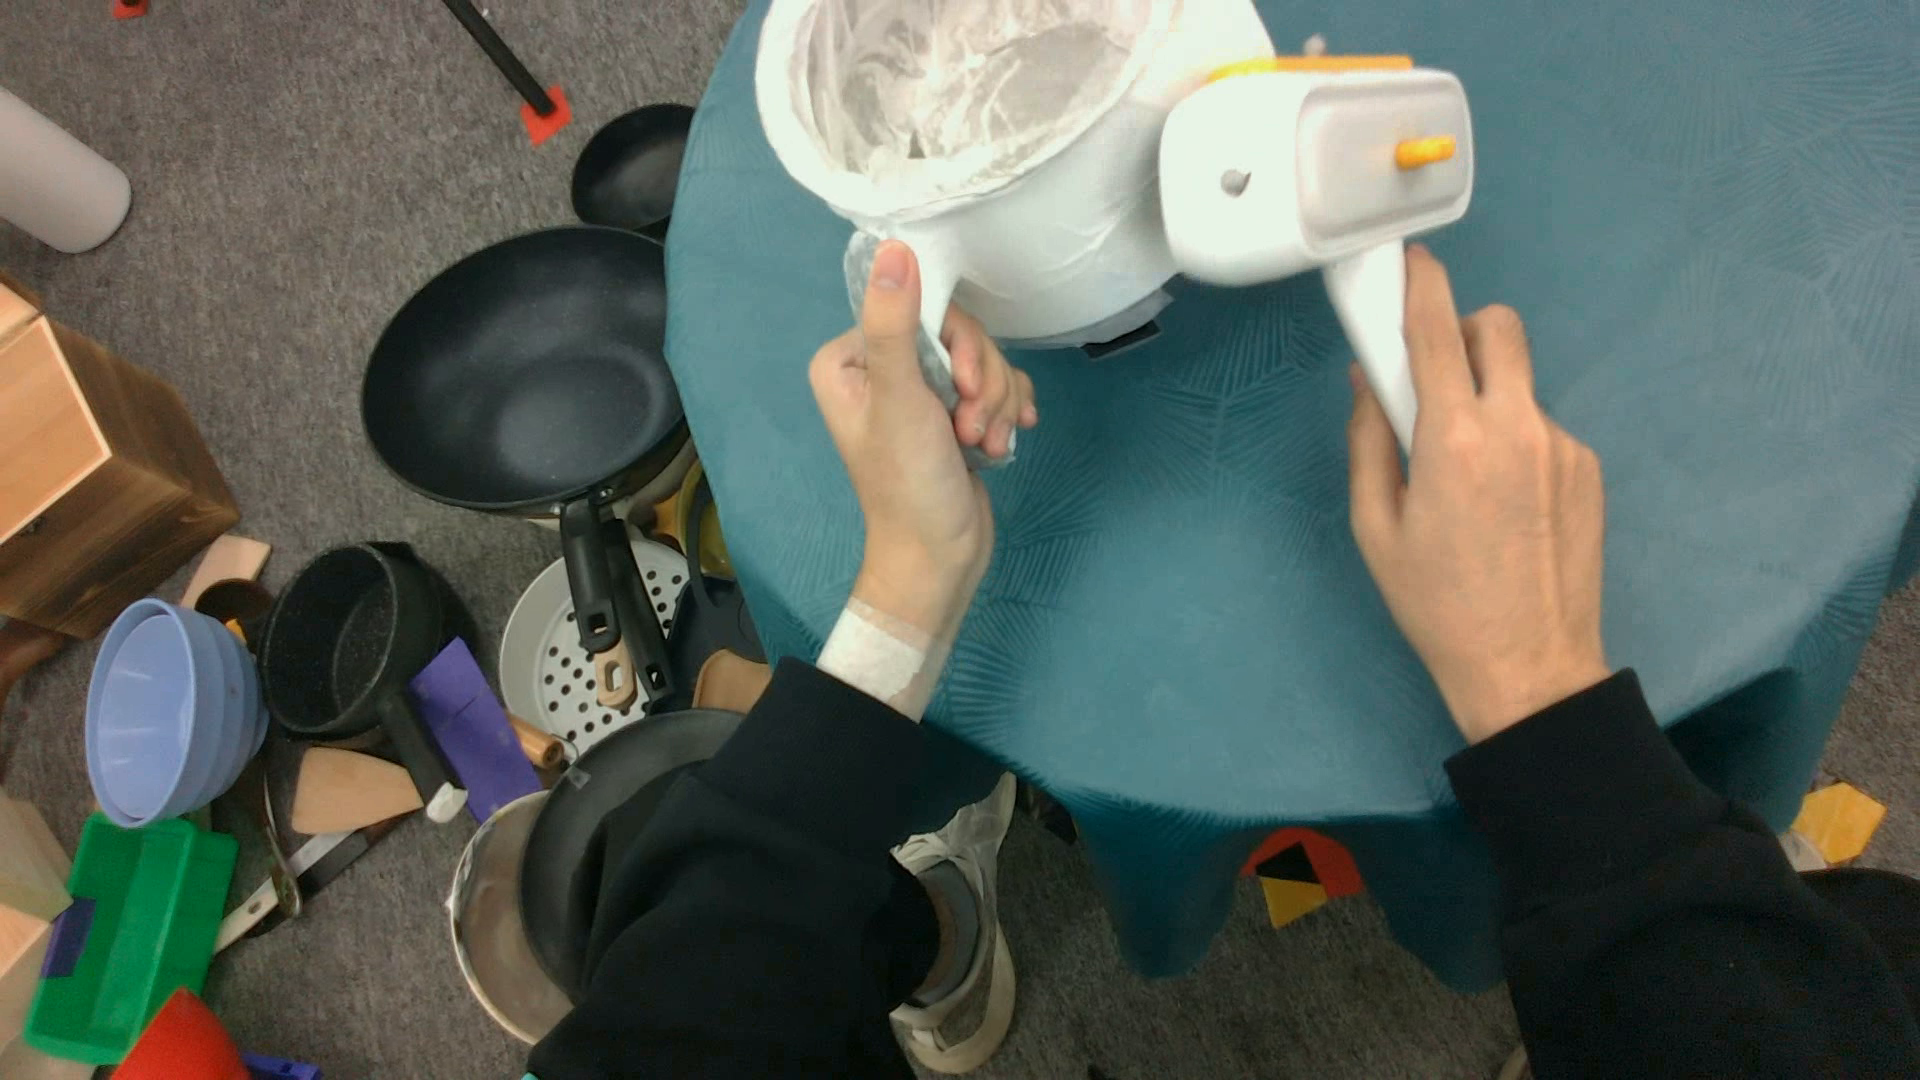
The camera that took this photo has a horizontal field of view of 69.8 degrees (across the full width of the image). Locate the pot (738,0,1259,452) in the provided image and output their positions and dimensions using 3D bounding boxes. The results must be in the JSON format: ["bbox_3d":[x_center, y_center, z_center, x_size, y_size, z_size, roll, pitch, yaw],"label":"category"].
[{"bbox_3d":[0.013,-0.157,0.543,0.178,0.136,0.234,10,75,33],"label":"pot"}]

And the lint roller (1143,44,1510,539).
[{"bbox_3d":[0.153,-0.088,0.519,0.074,0.194,0.192,-12,103,36],"label":"lint roller"}]
